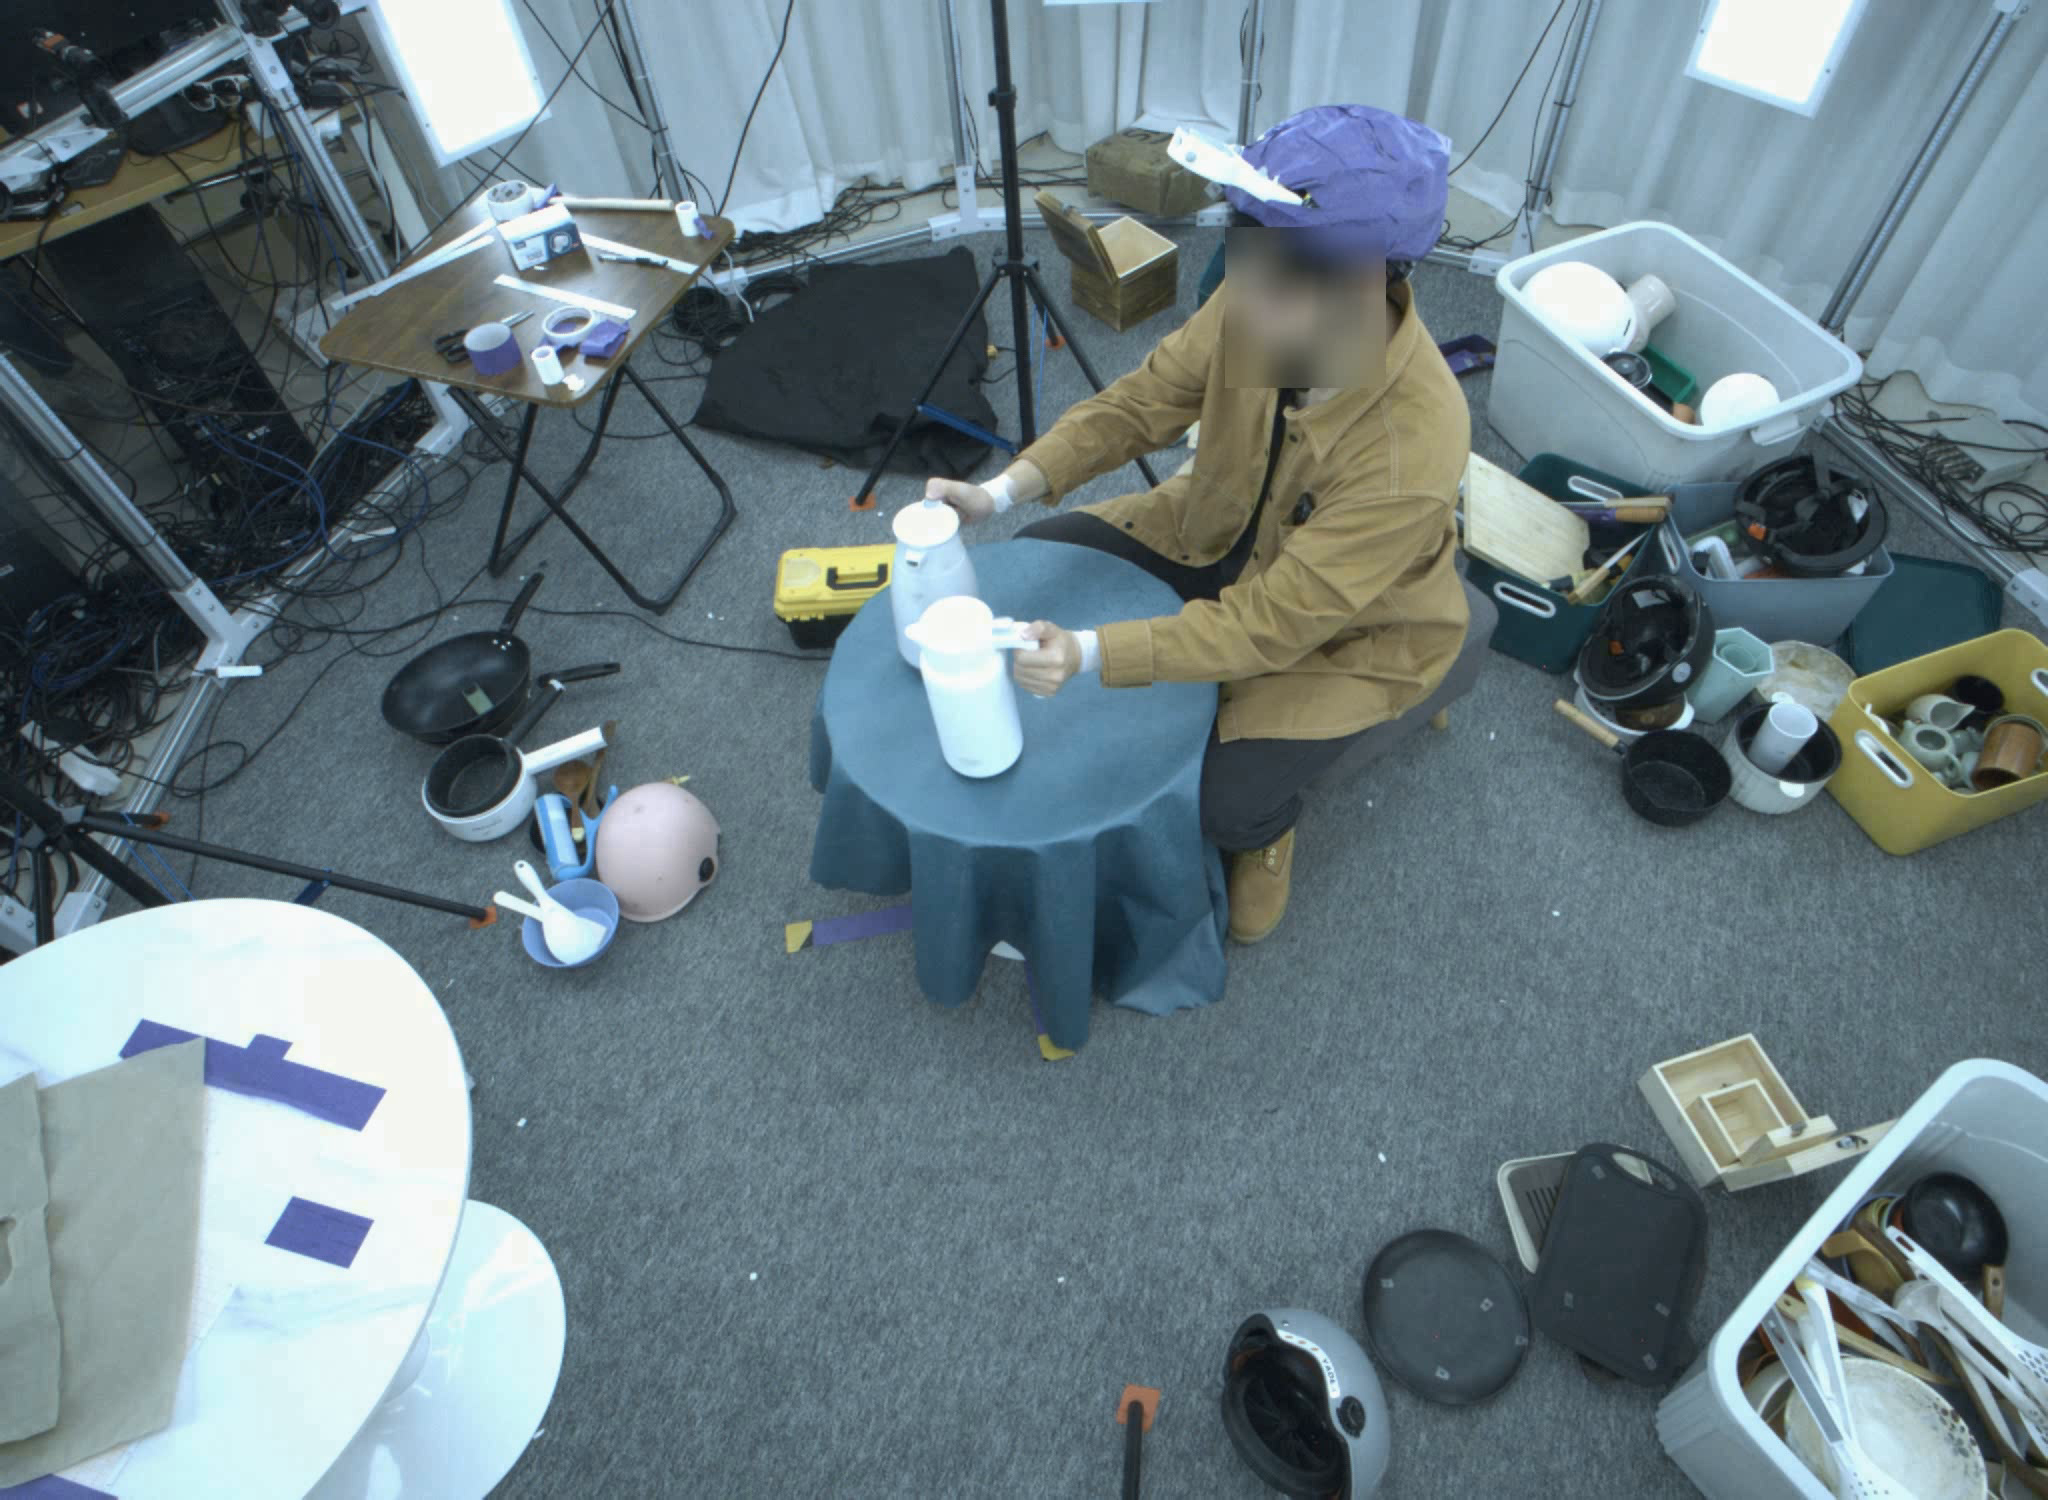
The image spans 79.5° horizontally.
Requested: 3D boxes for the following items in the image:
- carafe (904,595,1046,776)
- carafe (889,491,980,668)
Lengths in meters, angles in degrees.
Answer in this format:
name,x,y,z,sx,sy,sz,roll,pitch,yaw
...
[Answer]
name,x,y,z,sx,sy,sz,roll,pitch,yaw
carafe,-0.057,-0.086,1.670,0.172,0.272,0.122,-3,52,4
carafe,-0.129,-0.260,1.782,0.131,0.251,0.167,11,54,10
